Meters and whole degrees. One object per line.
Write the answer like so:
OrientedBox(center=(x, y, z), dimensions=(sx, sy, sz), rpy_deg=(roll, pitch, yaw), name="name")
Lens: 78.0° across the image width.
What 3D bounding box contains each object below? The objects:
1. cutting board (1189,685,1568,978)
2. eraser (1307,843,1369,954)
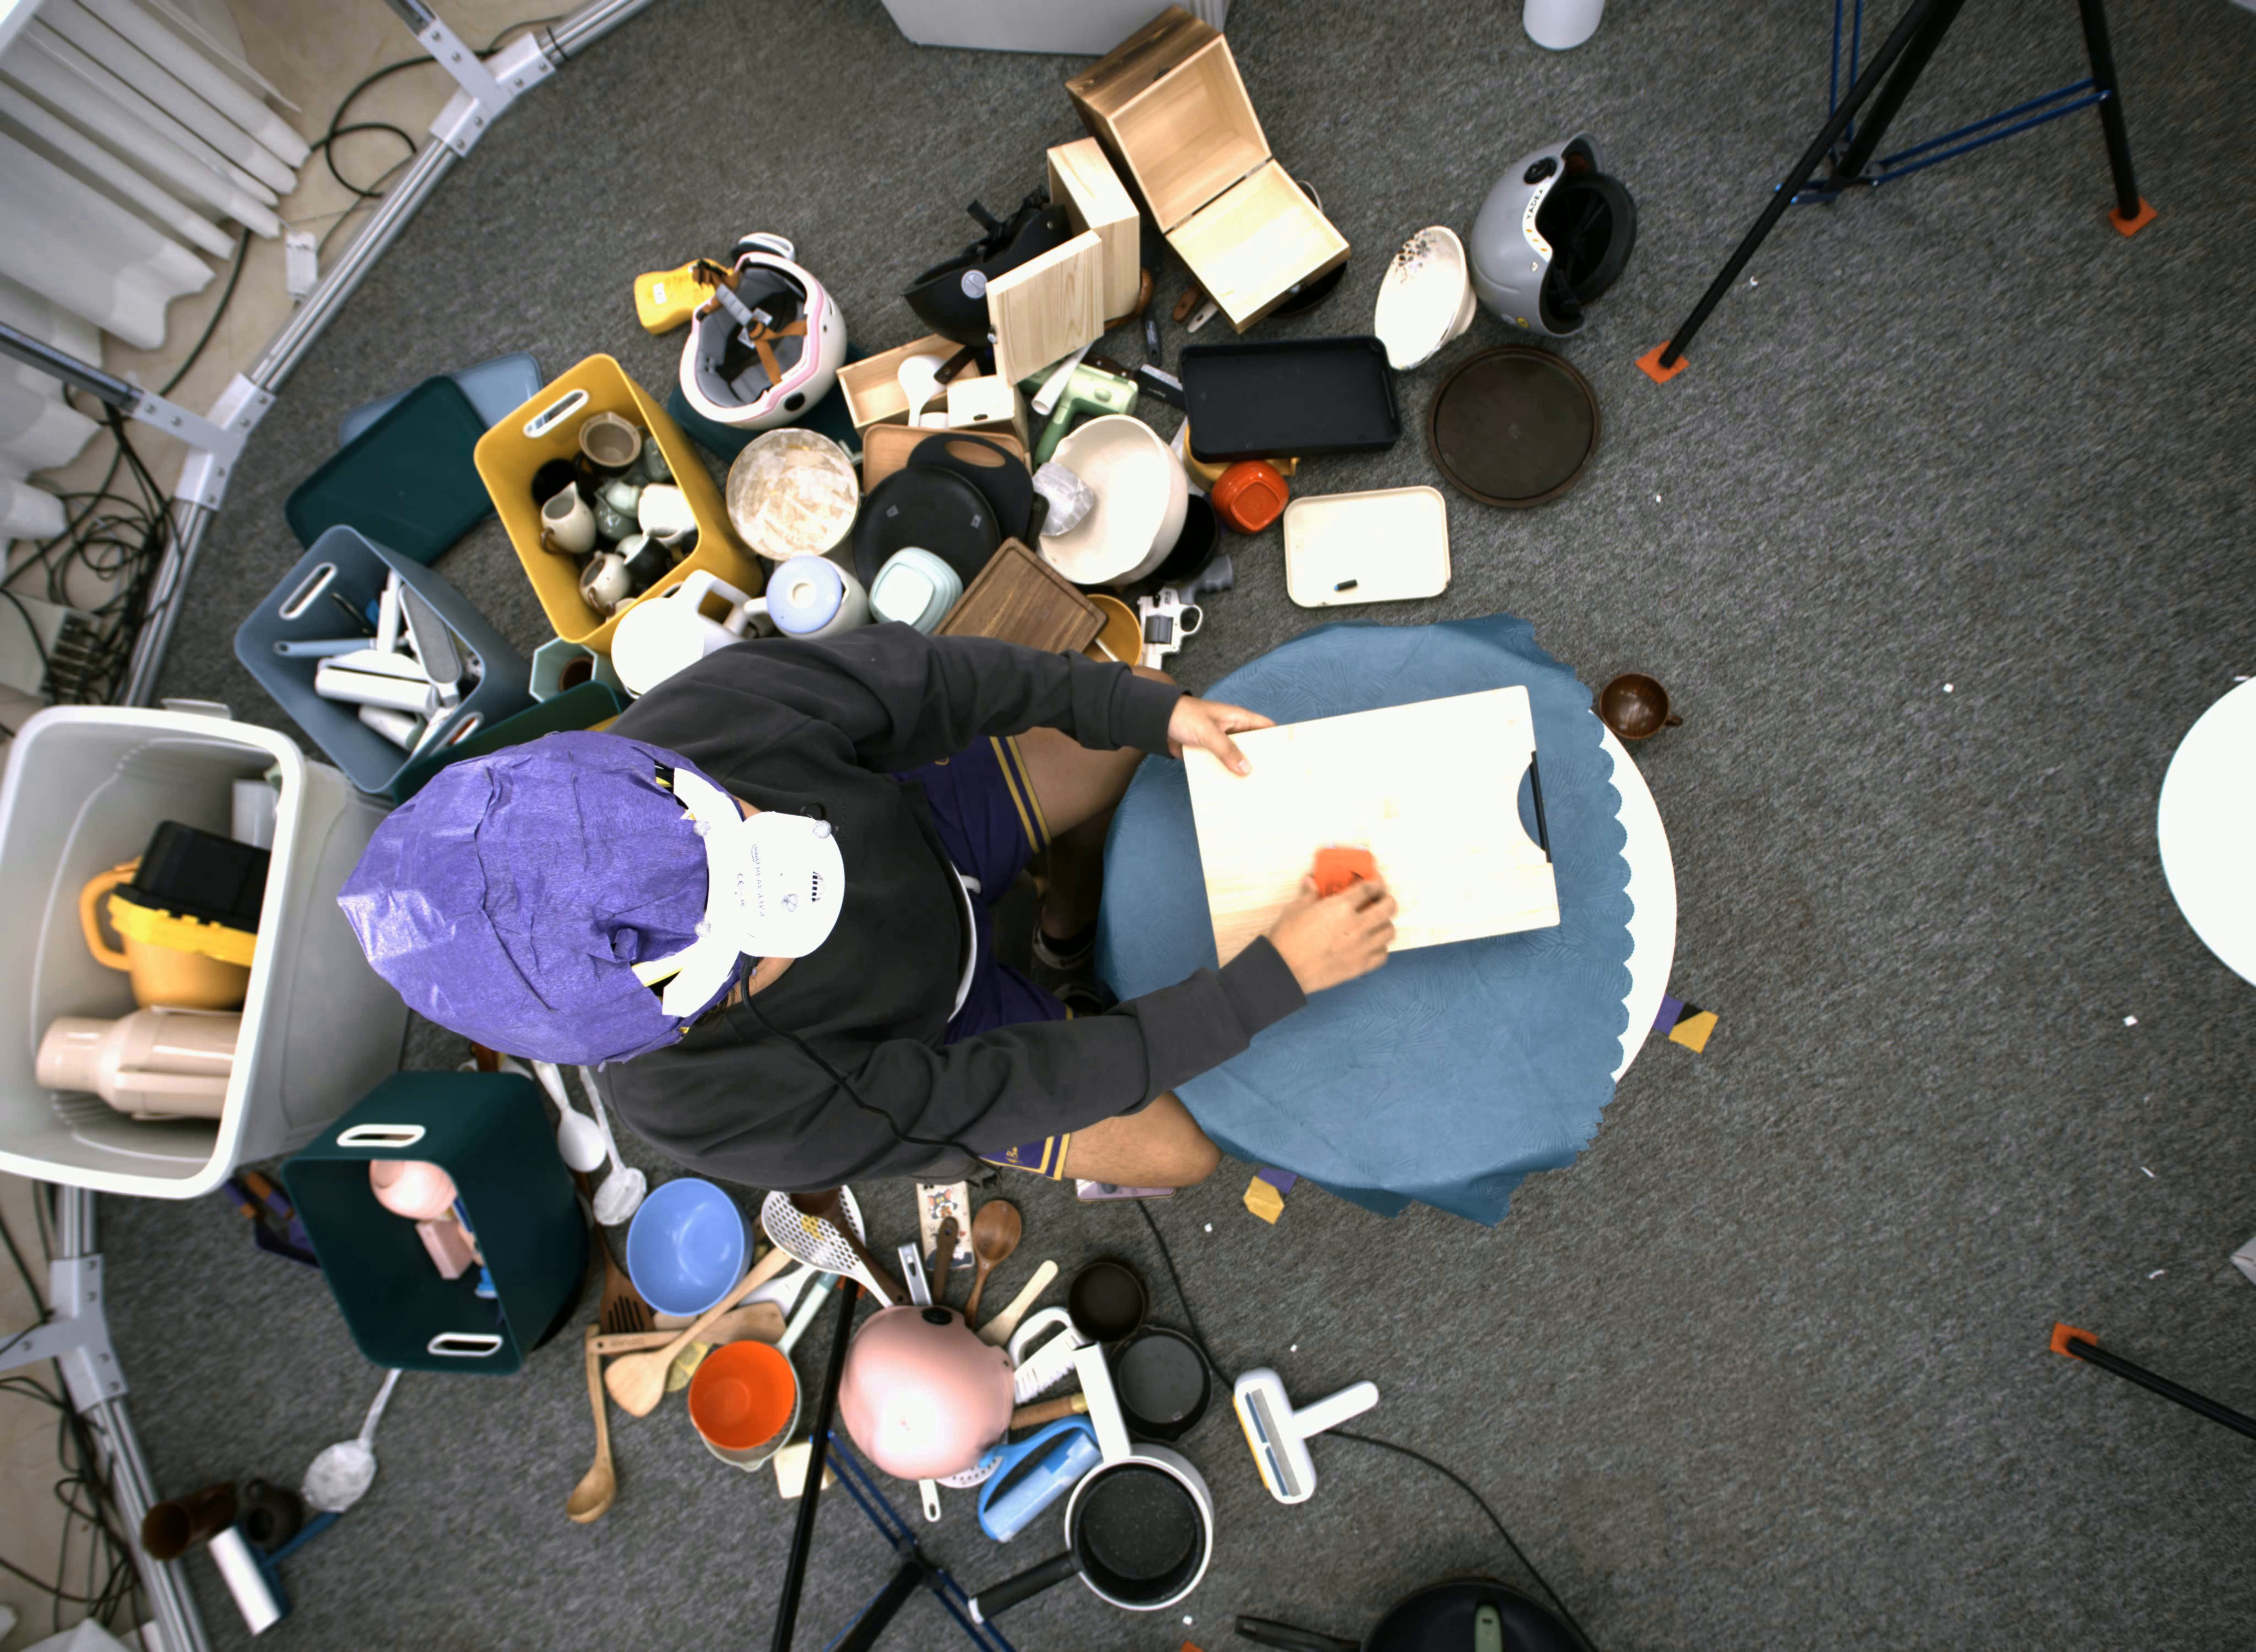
OrientedBox(center=(0.245, 0.005, 1.362), dimensions=(0.350, 0.023, 0.252), rpy_deg=(-10, 99, 5), name="cutting board")
OrientedBox(center=(0.205, 0.070, 1.355), dimensions=(0.059, 0.022, 0.109), rpy_deg=(0, 99, 3), name="eraser")
